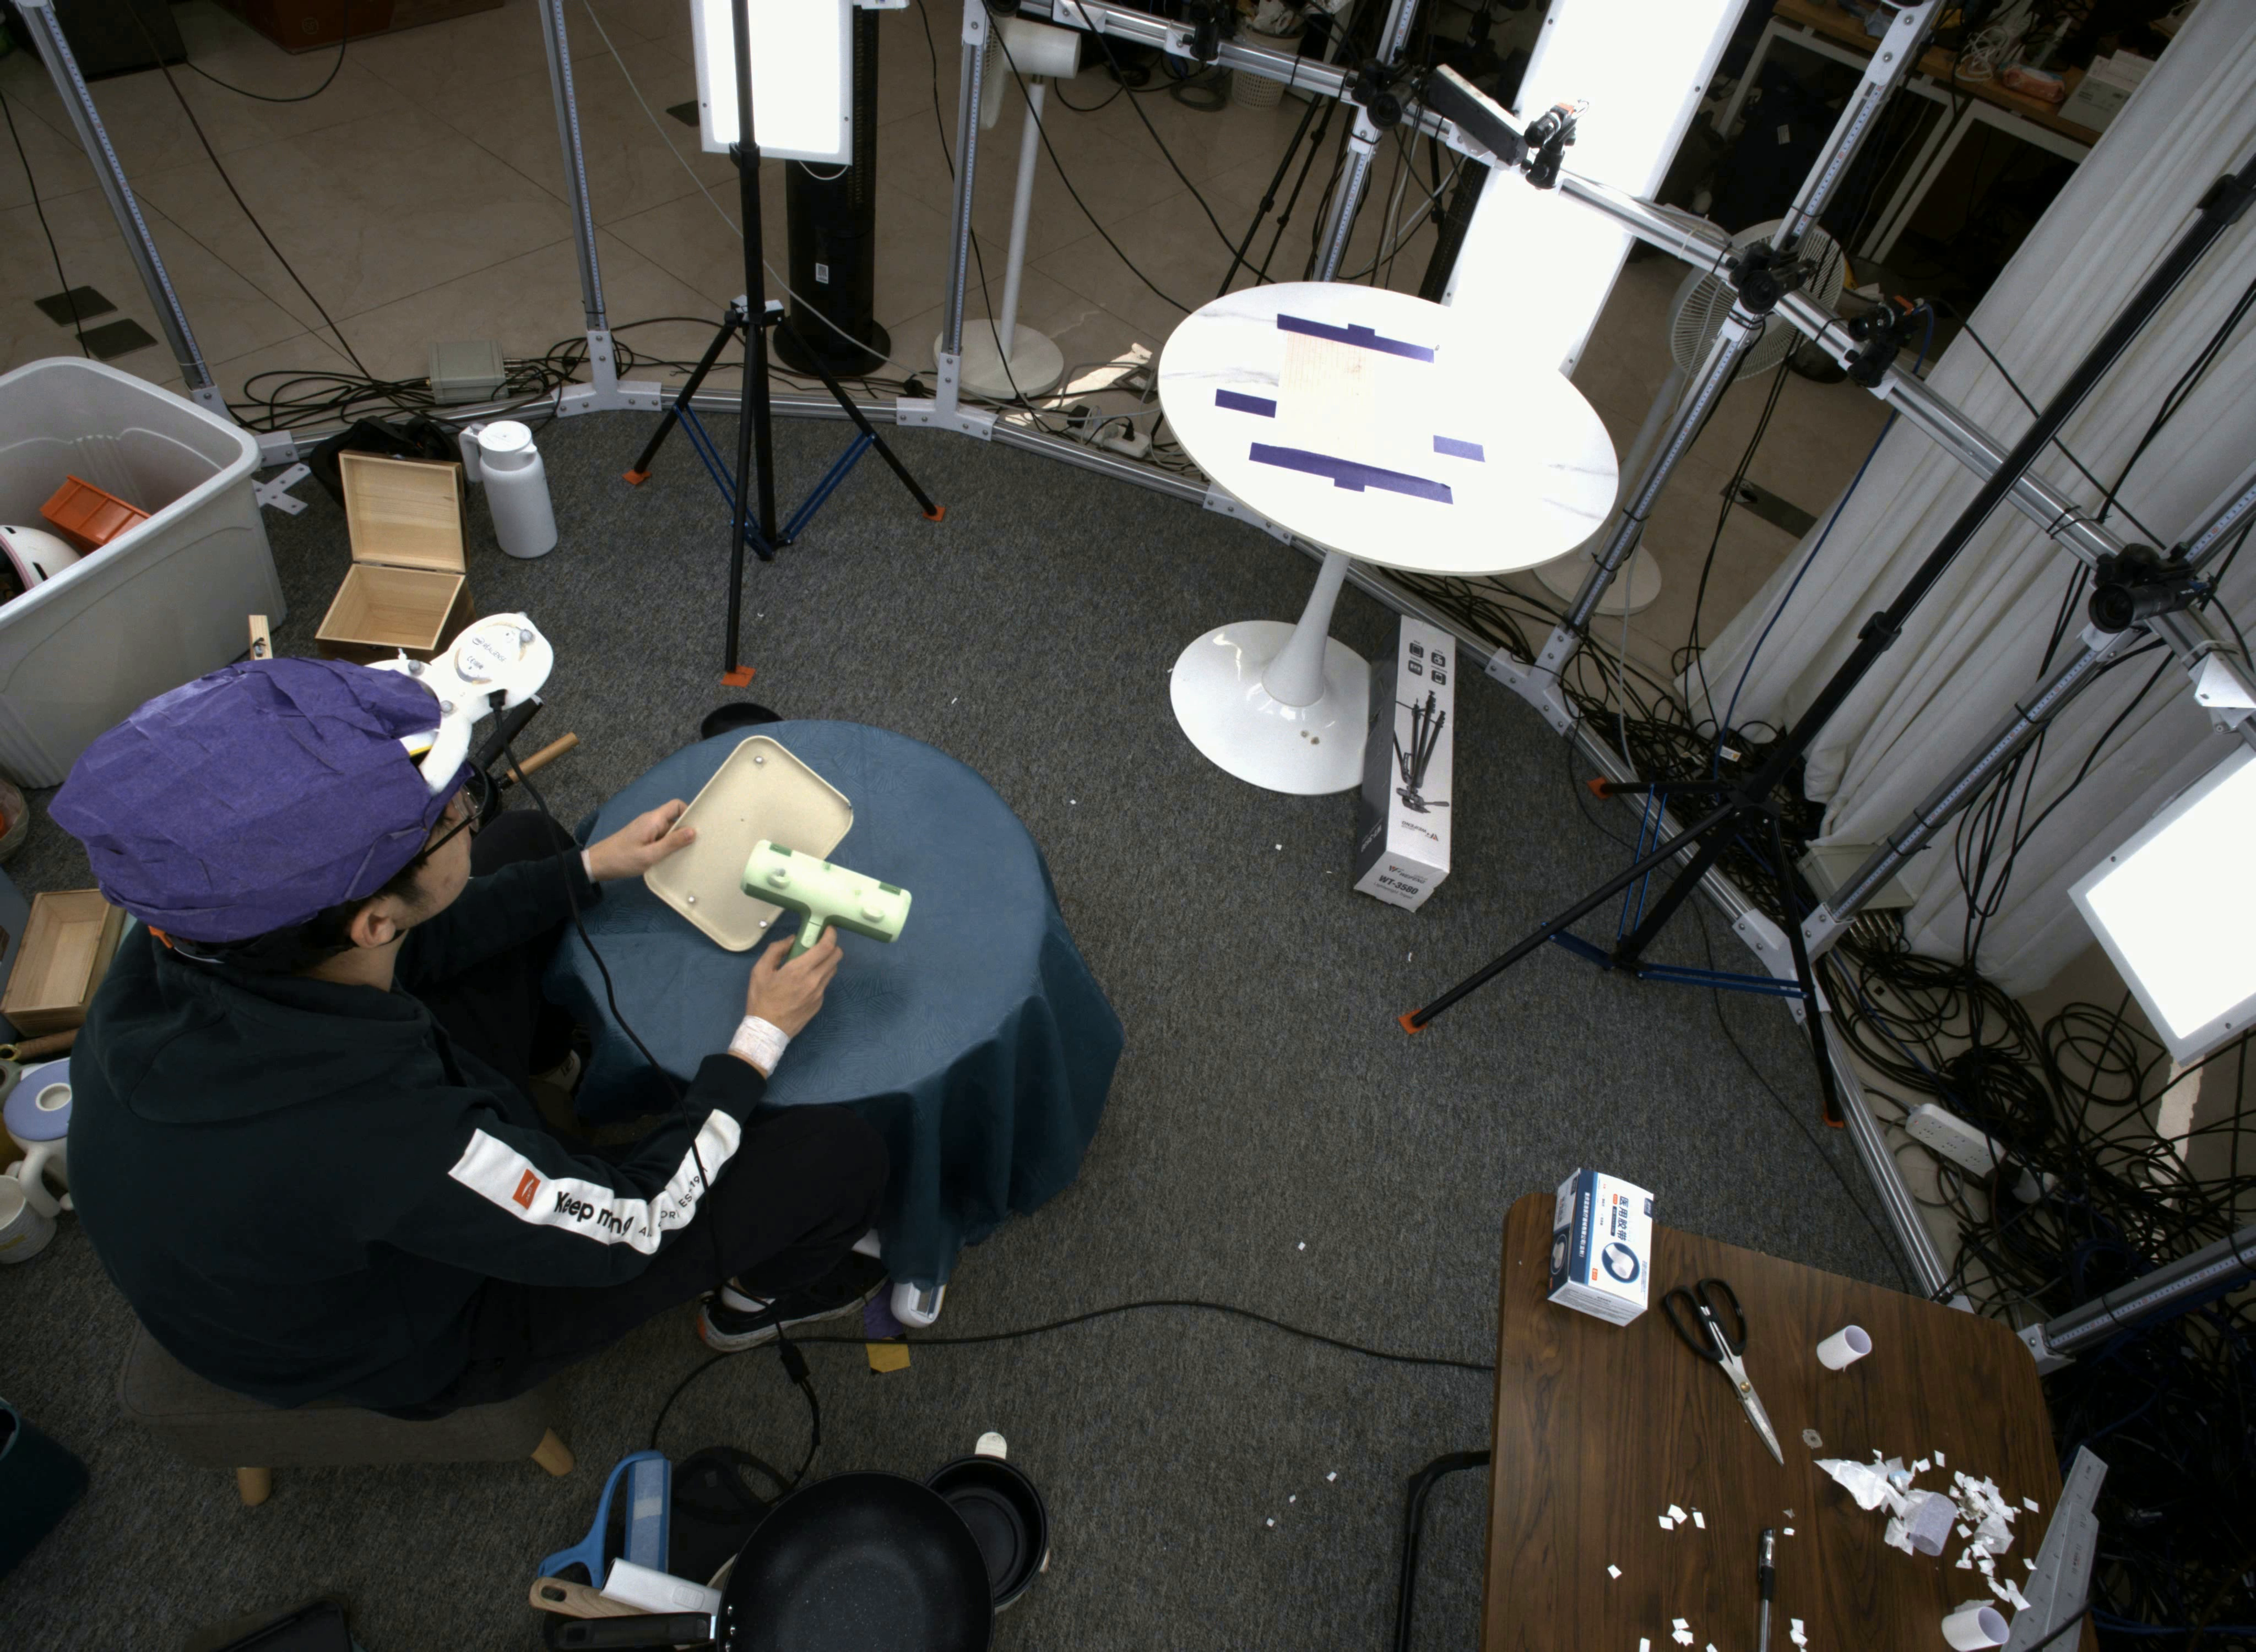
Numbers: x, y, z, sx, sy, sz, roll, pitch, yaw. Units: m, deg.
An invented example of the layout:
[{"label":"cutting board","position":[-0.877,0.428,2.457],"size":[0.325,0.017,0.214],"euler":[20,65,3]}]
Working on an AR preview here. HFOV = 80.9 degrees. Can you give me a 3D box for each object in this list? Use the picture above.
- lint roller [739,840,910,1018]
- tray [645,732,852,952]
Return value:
[{"label":"lint roller","position":[-0.373,0.130,1.520],"size":[0.200,0.081,0.183],"euler":[21,71,-15]},{"label":"tray","position":[-0.467,0.019,1.592],"size":[0.173,0.017,0.240],"euler":[39,88,-8]}]
